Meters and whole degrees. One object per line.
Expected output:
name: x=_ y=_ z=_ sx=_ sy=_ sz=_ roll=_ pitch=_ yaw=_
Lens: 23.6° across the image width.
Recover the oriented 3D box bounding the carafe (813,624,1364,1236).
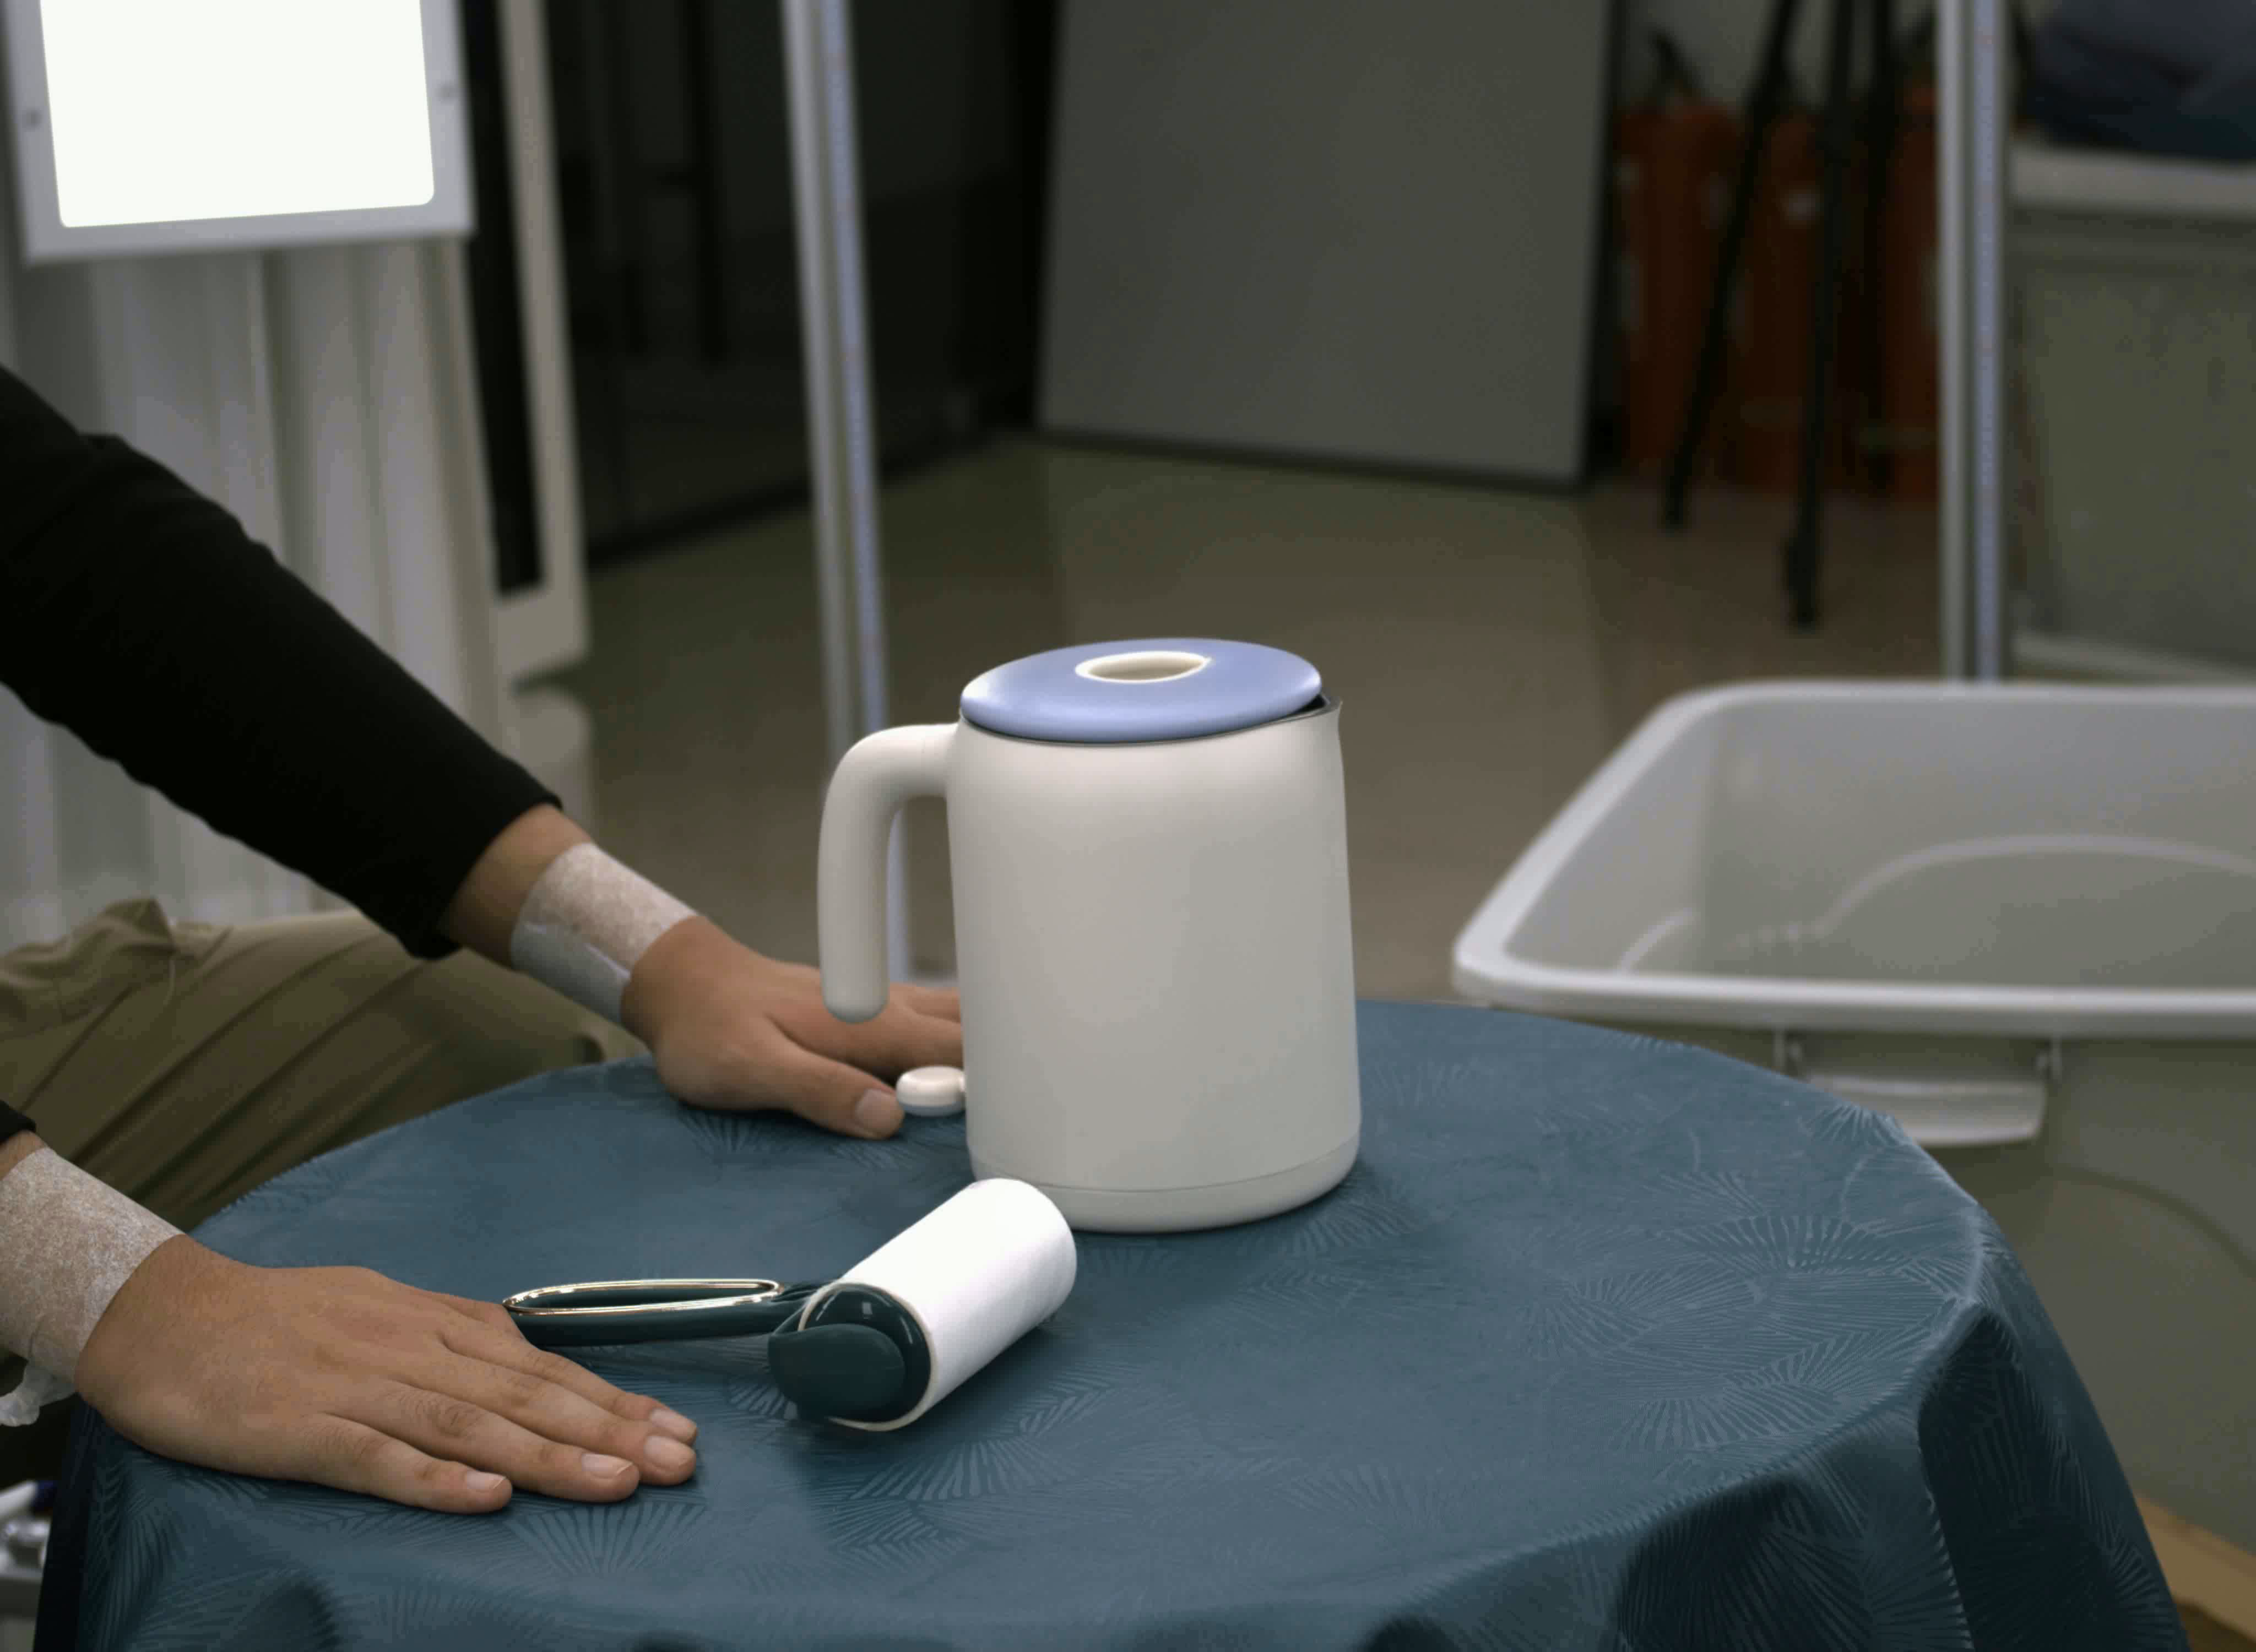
carafe: x=-0.015 y=0.033 z=1.769 sx=0.191 sy=0.184 sz=0.131 roll=-1 pitch=13 yaw=20

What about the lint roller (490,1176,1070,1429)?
lint roller: x=-0.117 y=0.142 z=1.633 sx=0.180 sy=0.049 sz=0.132 roll=-1 pitch=13 yaw=26
